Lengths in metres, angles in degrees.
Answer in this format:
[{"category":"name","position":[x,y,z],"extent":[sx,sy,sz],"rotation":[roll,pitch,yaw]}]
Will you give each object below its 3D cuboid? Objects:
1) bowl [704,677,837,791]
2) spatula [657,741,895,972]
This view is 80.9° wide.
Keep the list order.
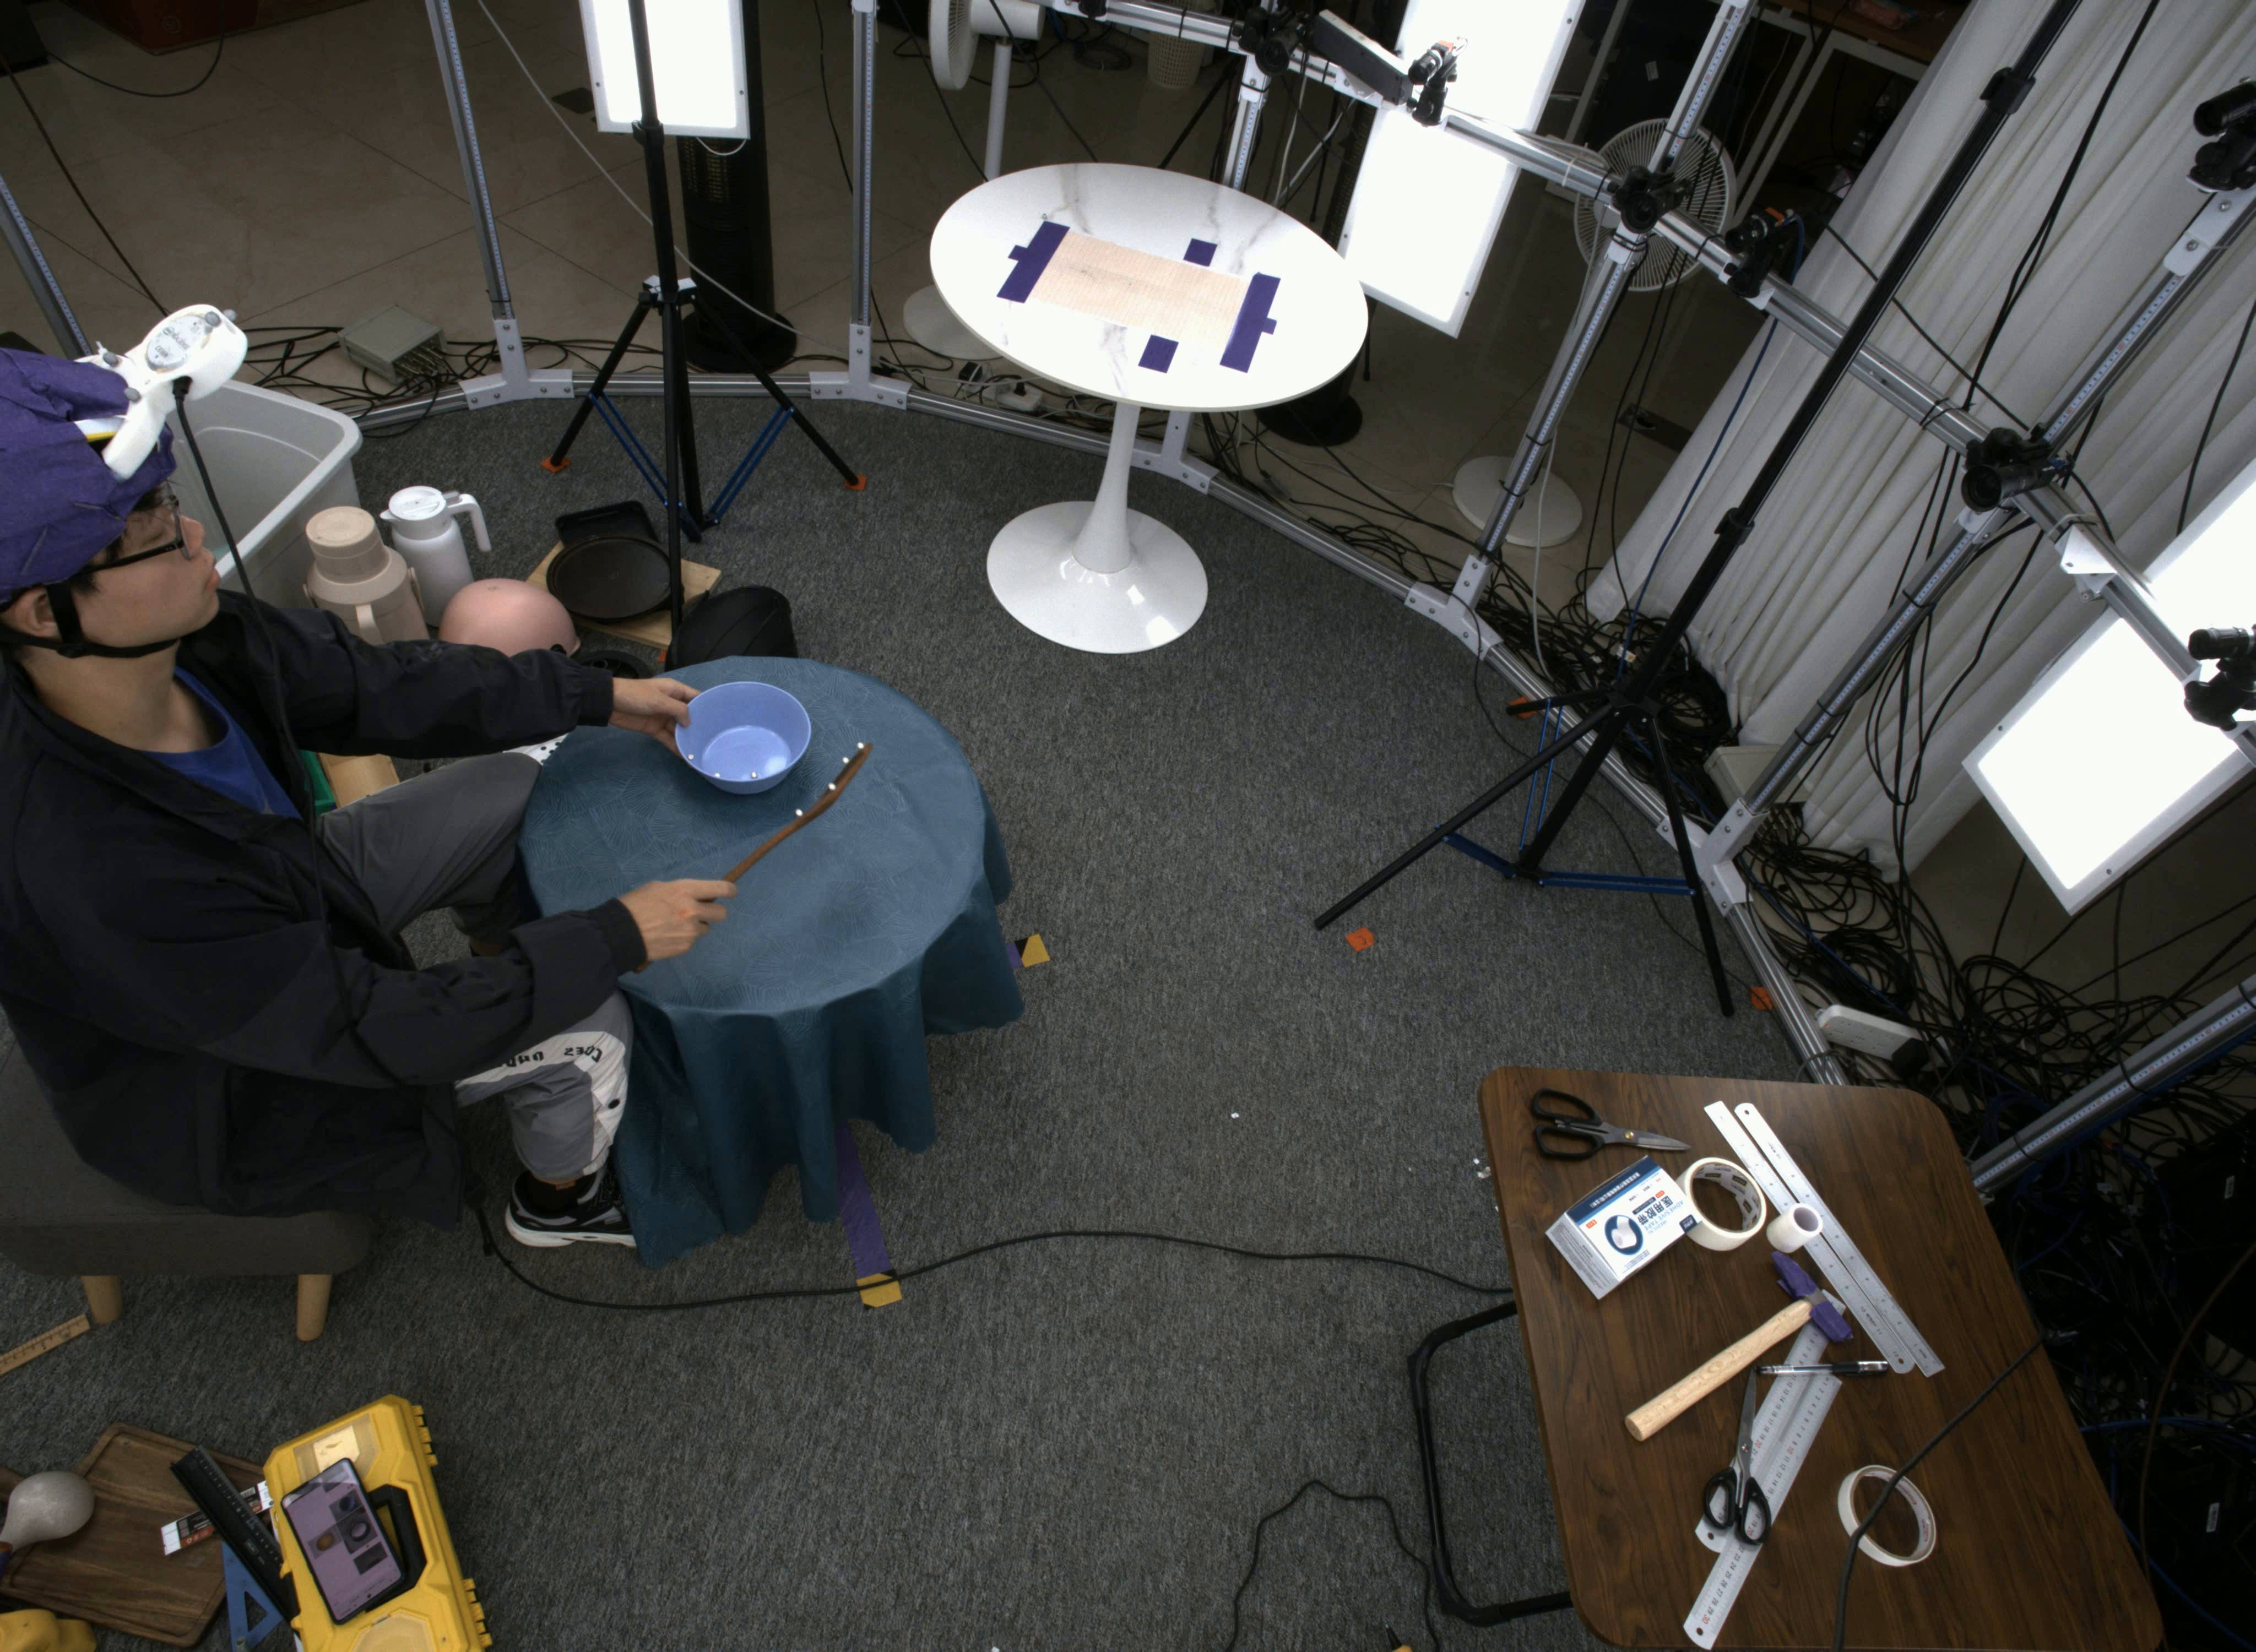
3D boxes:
[{"category":"bowl","position":[-0.483,-0.115,1.758],"extent":[0.175,0.072,0.173],"rotation":[7,53,-7]},{"category":"spatula","position":[-0.414,0.034,1.546],"extent":[0.386,0.083,0.024],"rotation":[-45,105,-17]}]
